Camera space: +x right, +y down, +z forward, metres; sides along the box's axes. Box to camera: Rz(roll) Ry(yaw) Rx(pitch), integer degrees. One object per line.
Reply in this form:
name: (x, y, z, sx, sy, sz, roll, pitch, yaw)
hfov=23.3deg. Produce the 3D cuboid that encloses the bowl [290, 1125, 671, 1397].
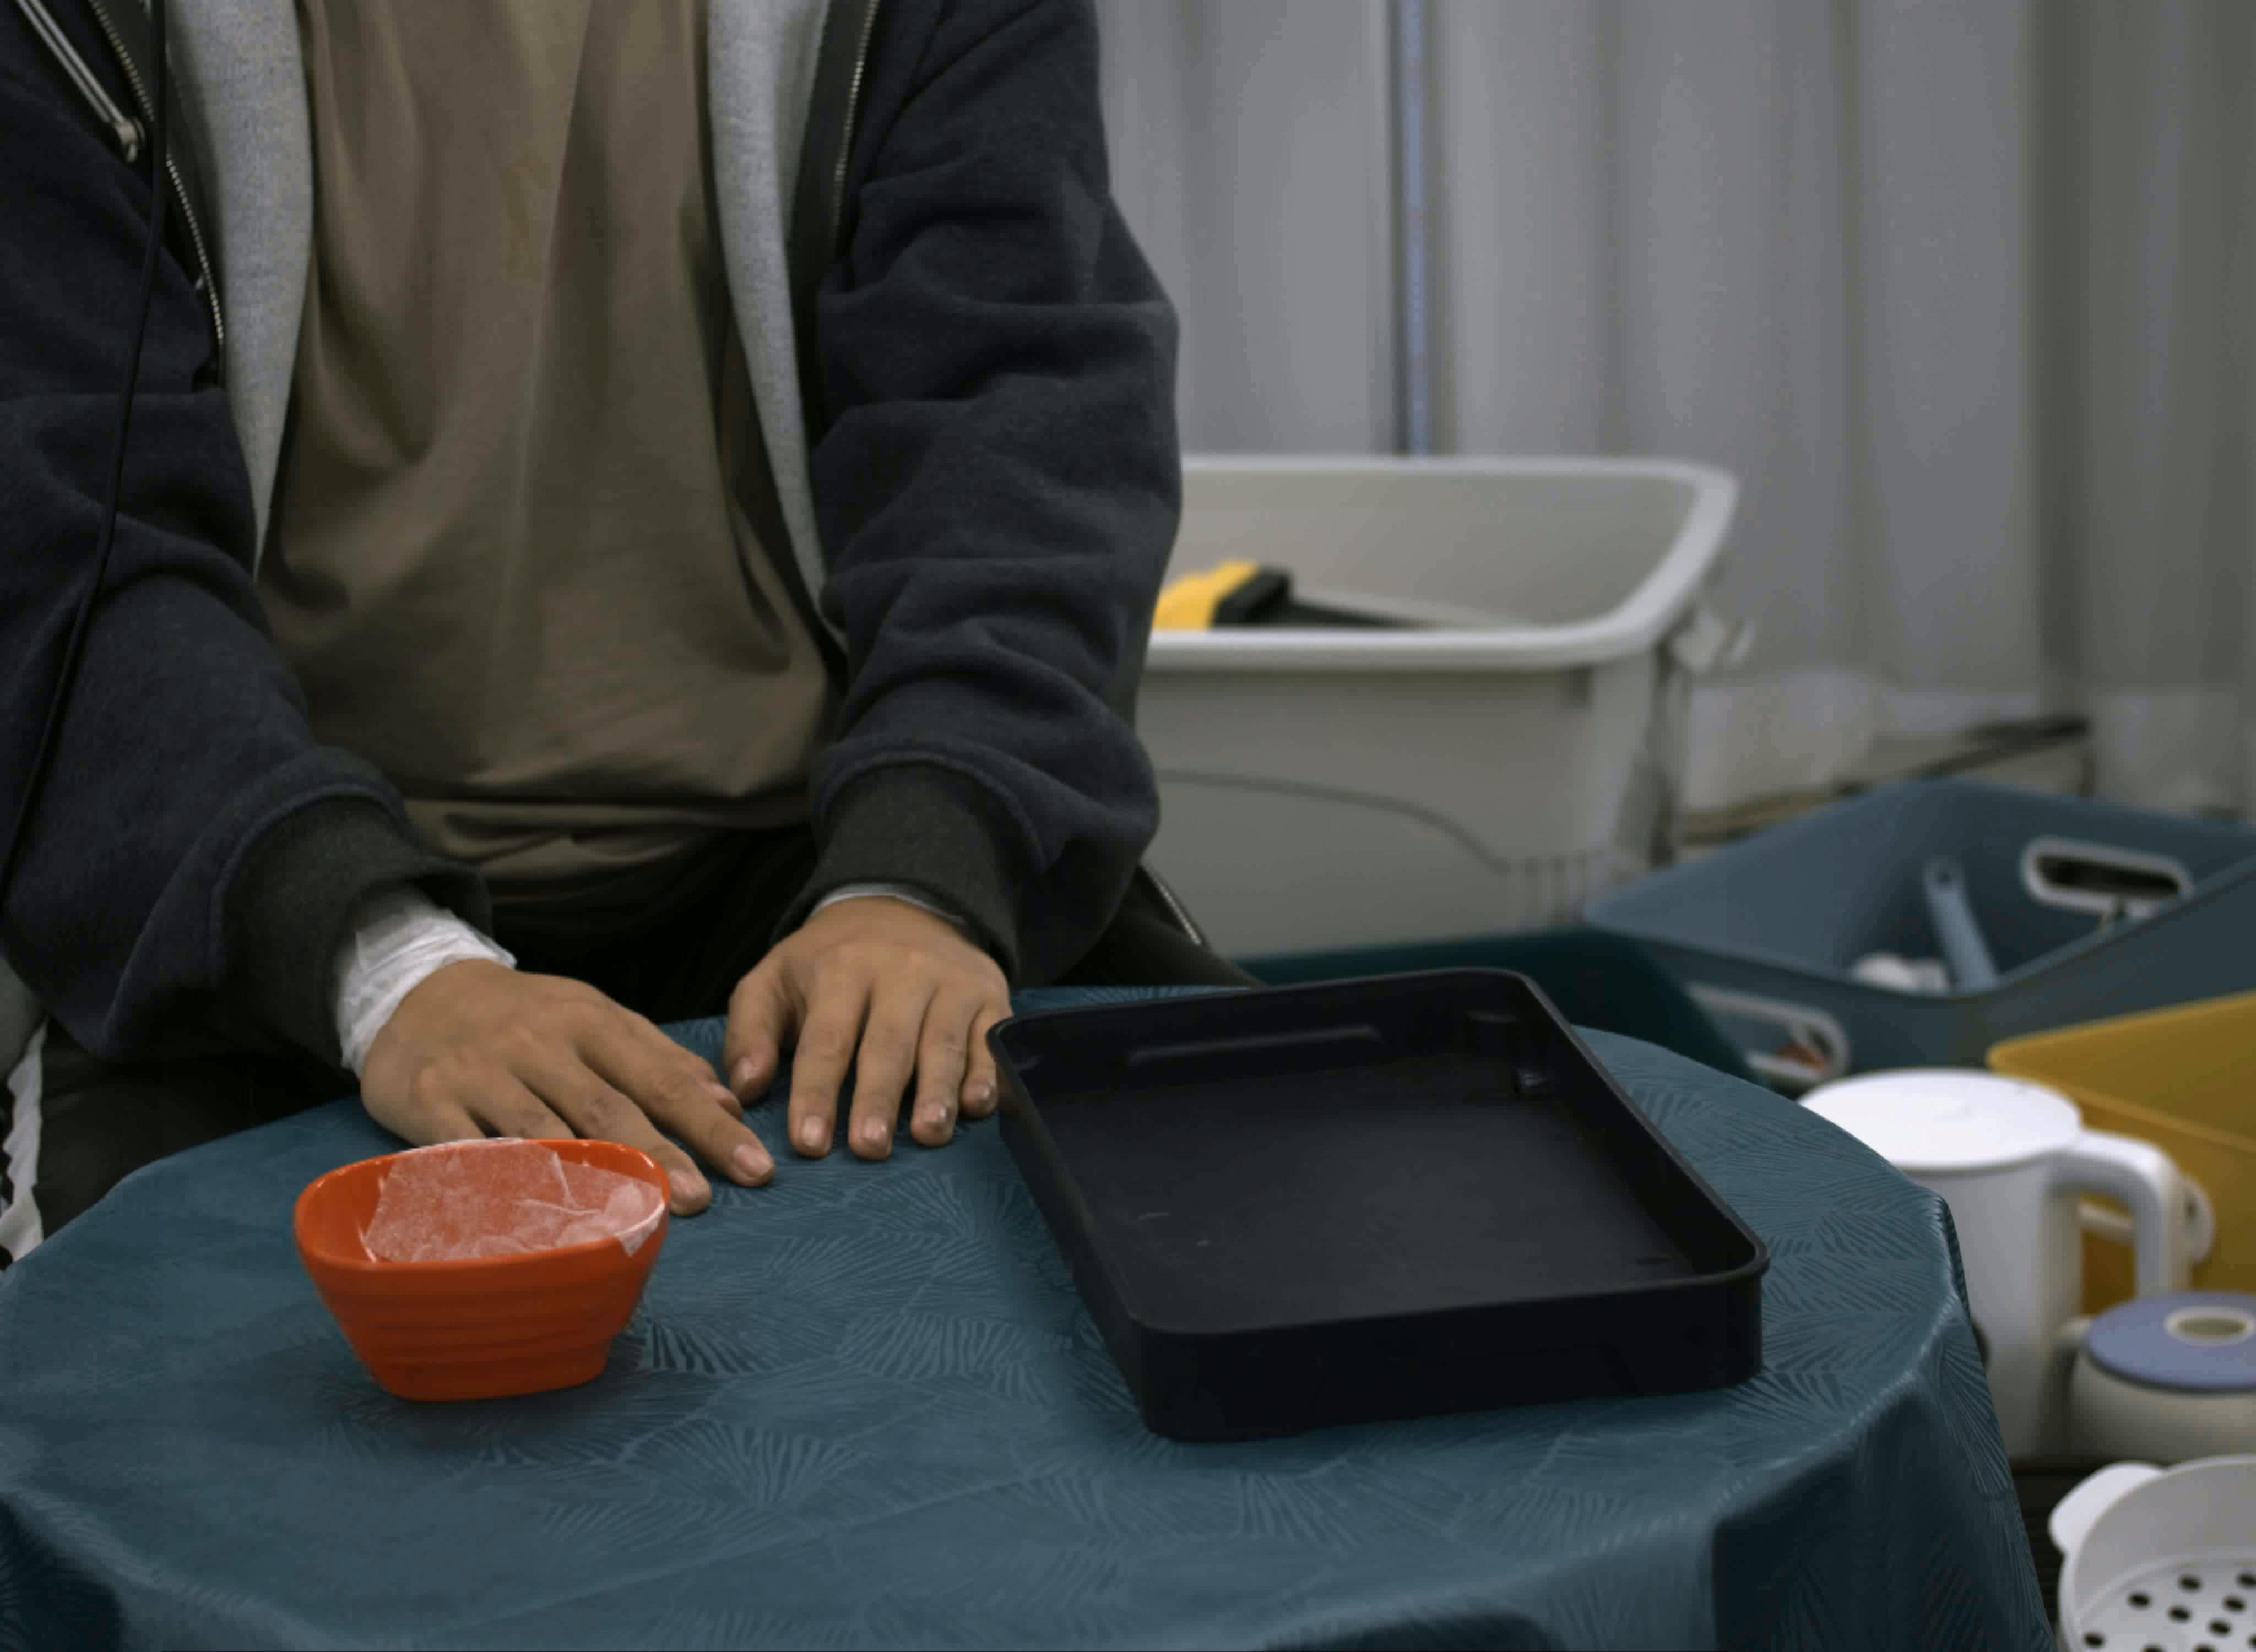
bowl: (-0.186, 0.129, 1.591, 0.118, 0.051, 0.120, -3, 16, 1)

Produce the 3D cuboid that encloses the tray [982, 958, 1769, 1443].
tray: (0.067, 0.107, 1.657, 0.183, 0.037, 0.320, -5, 15, -9)
